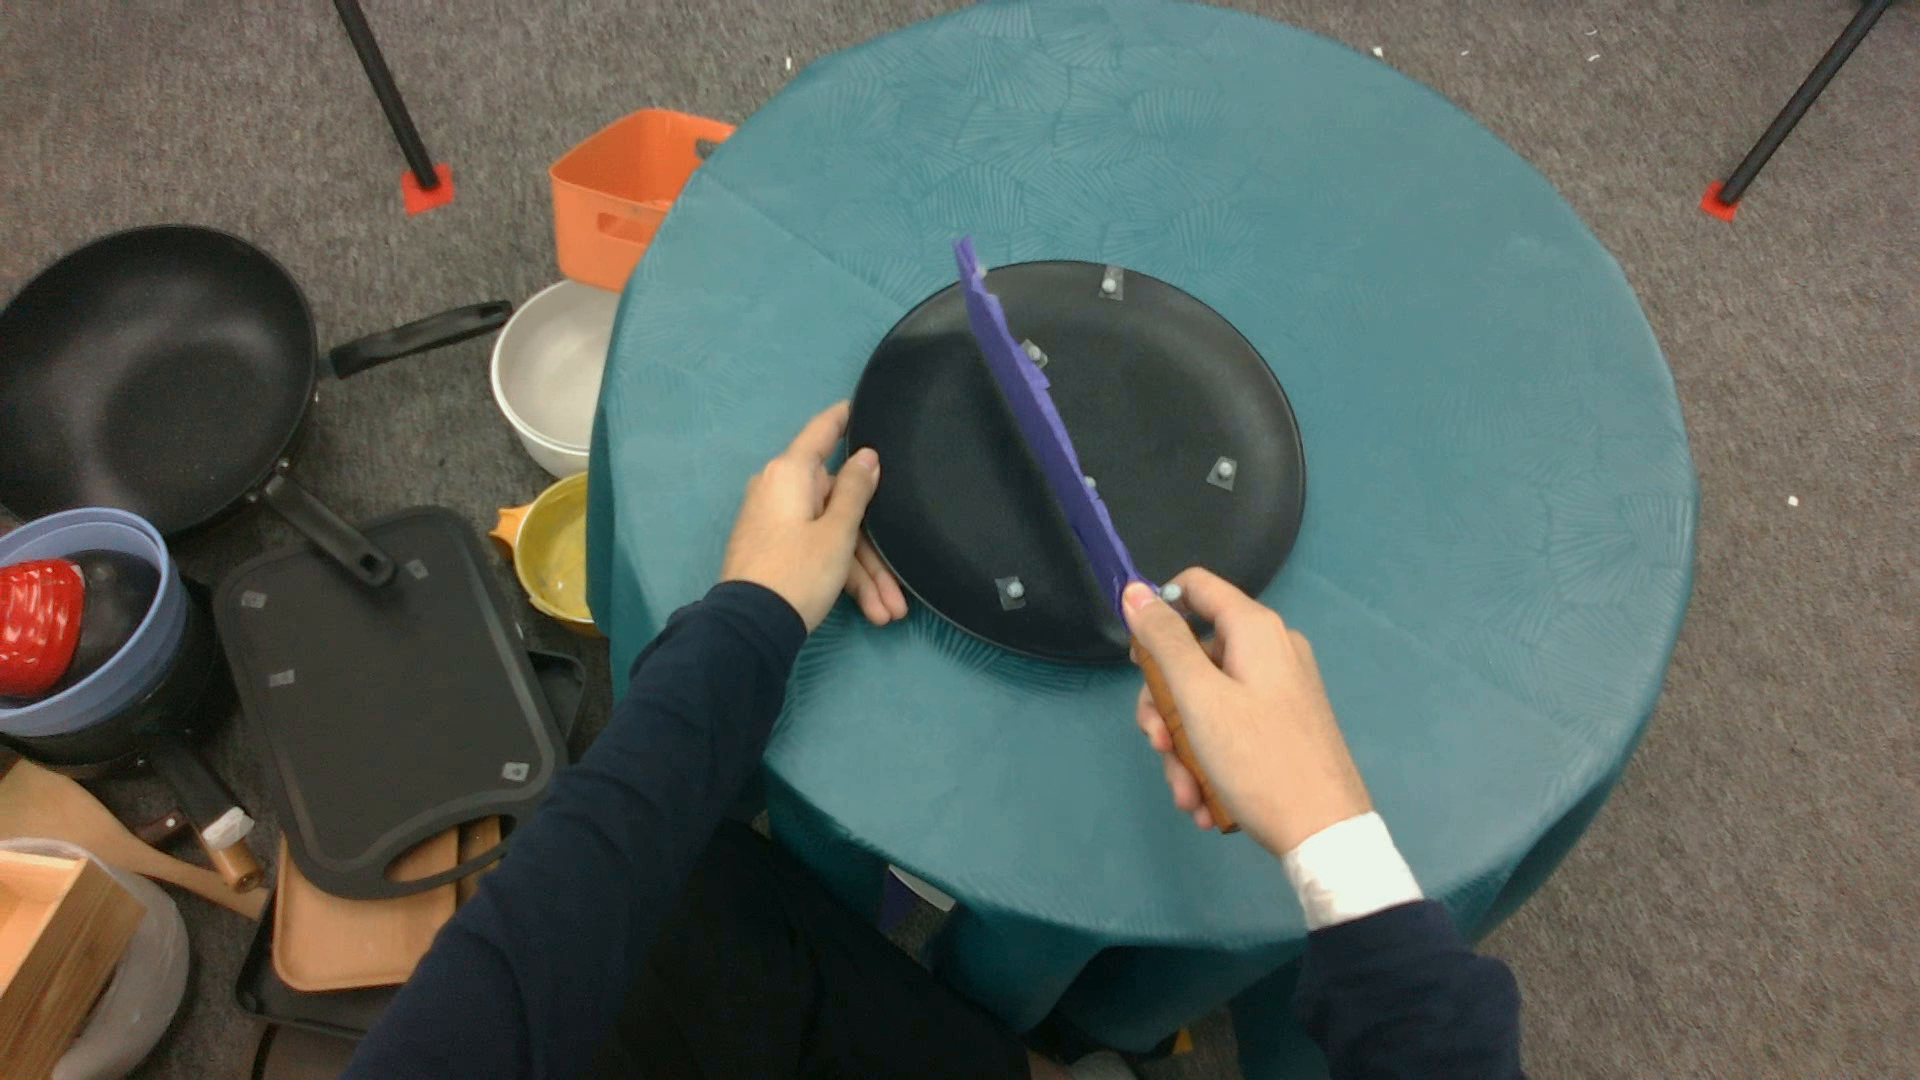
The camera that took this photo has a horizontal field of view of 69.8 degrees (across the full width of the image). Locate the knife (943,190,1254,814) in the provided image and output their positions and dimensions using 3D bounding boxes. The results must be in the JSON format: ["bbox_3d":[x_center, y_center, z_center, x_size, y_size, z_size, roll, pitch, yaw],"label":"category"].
[{"bbox_3d":[0.056,-0.018,0.649,0.032,0.103,0.316,-21,69,-2],"label":"knife"}]

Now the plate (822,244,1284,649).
[{"bbox_3d":[0.049,-0.052,0.727,0.244,0.023,0.245,3,63,-5],"label":"plate"}]
